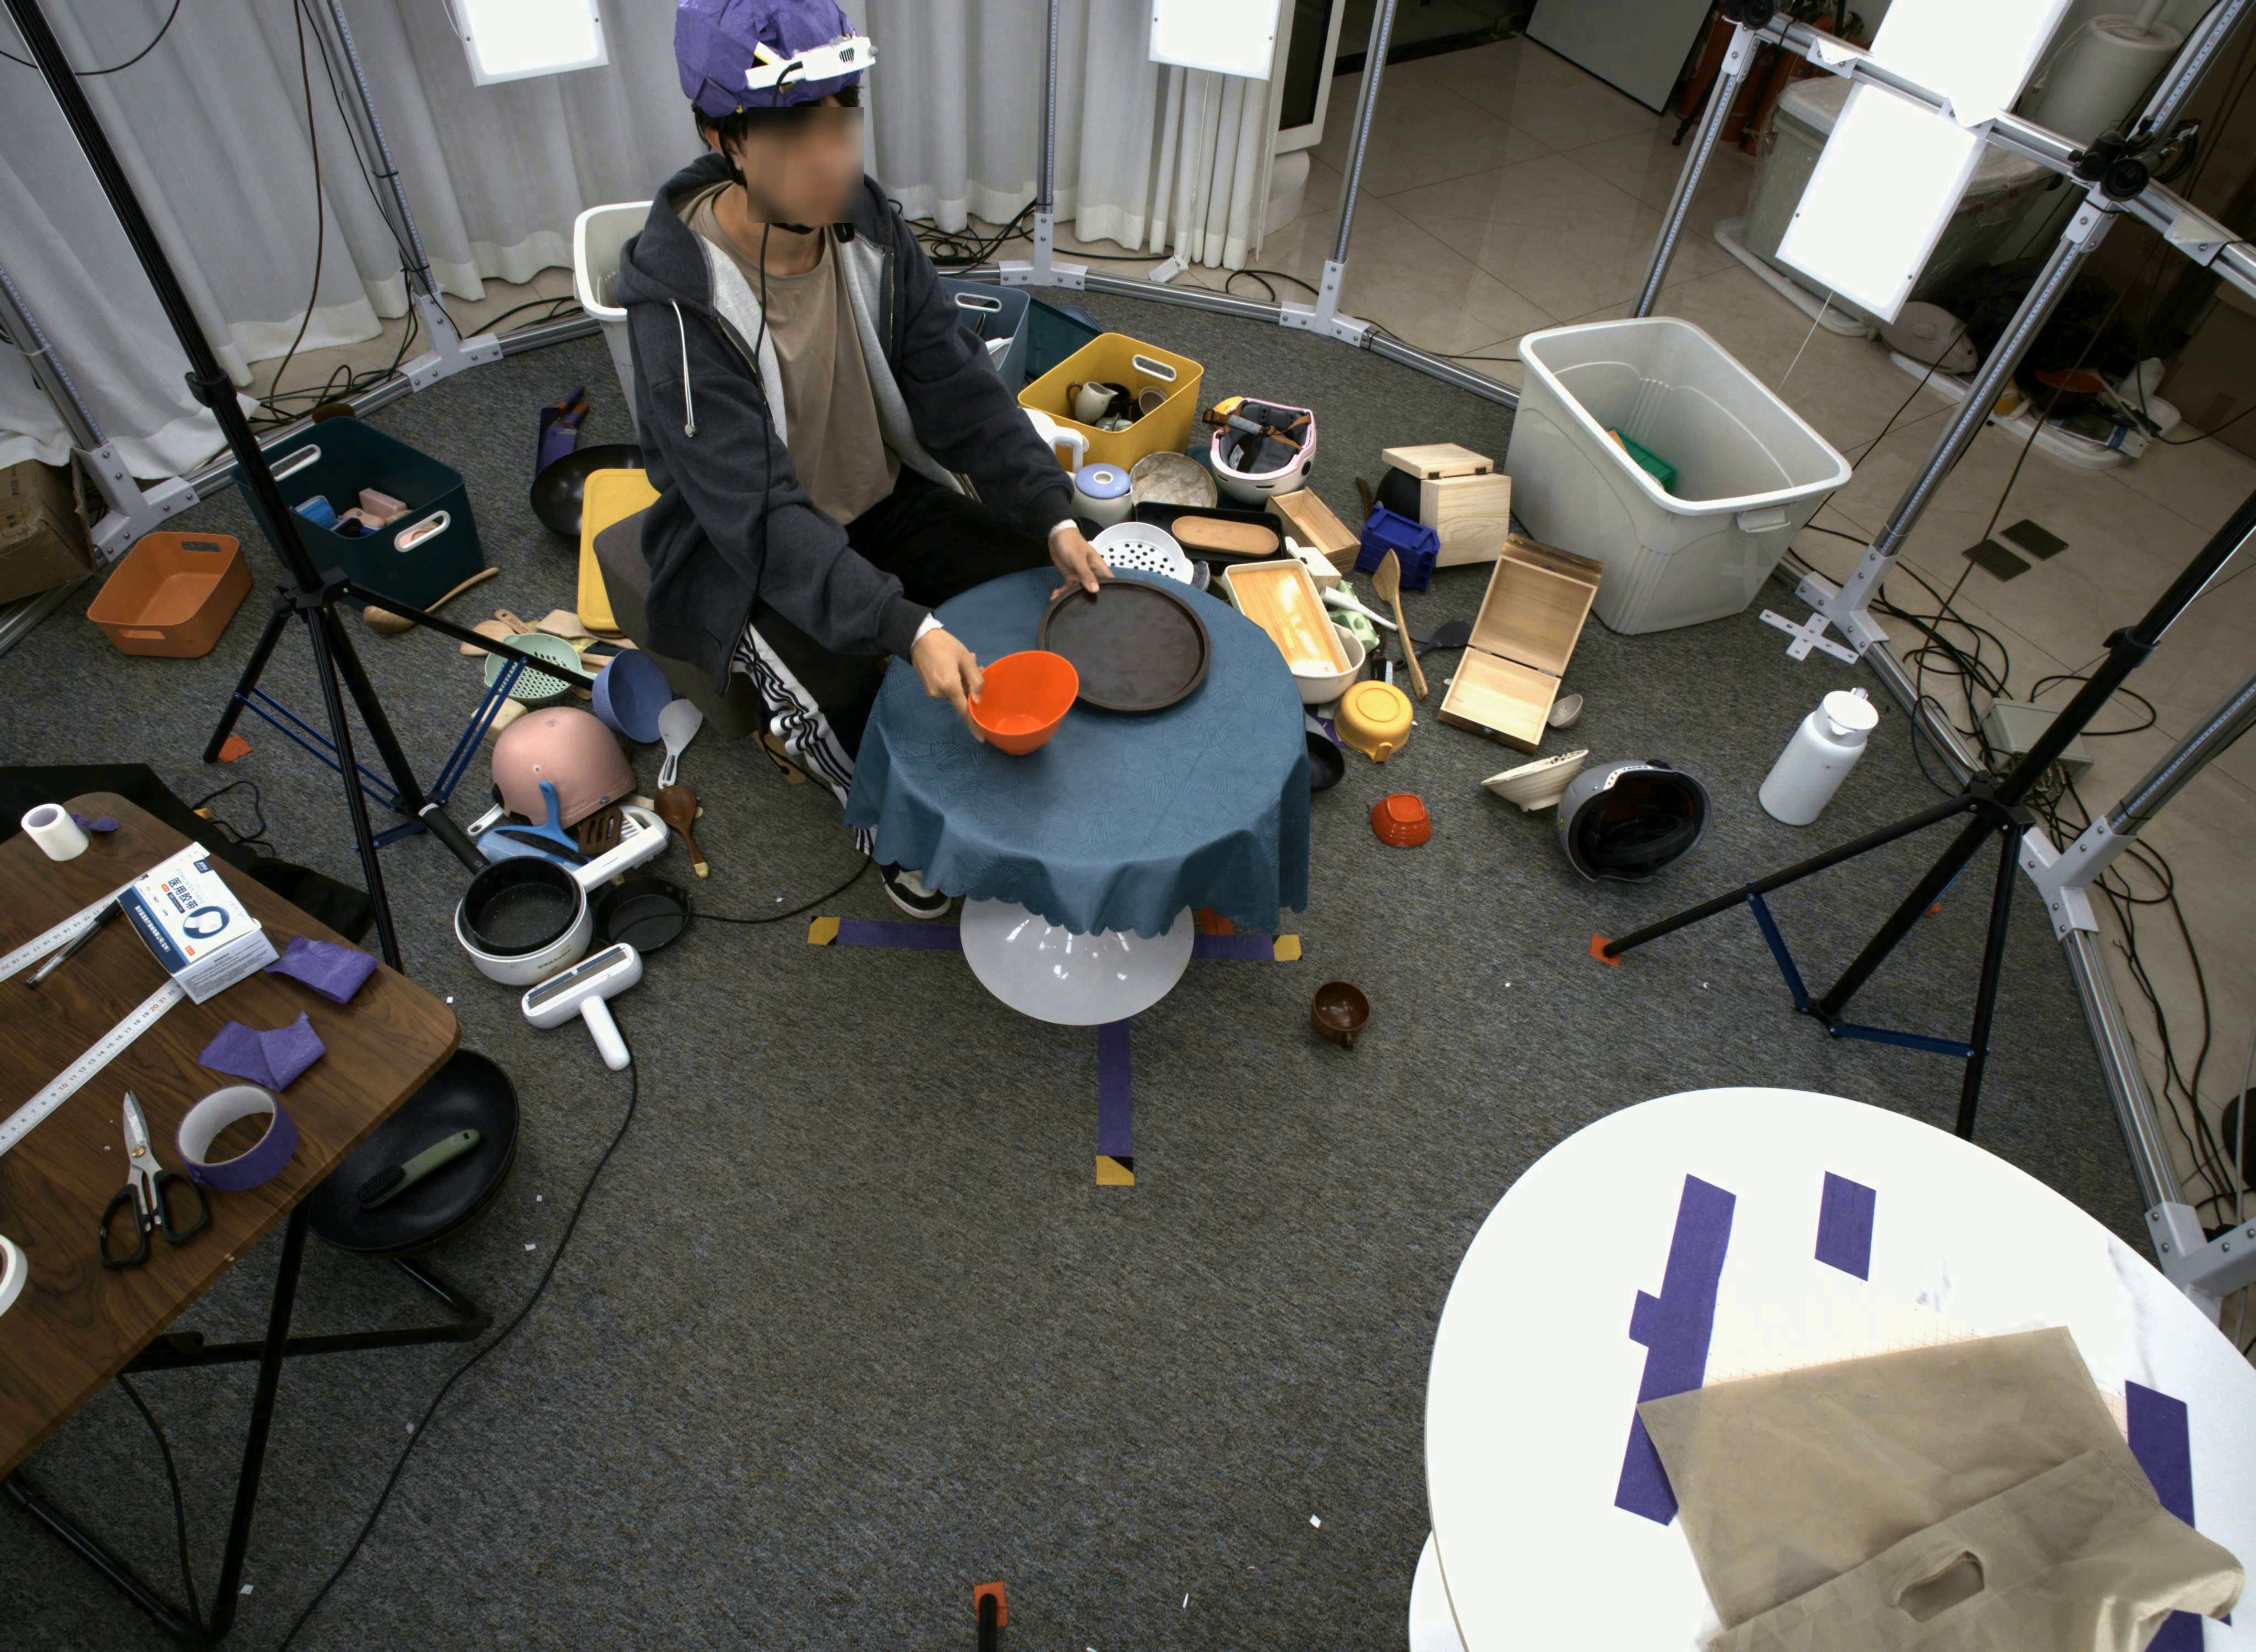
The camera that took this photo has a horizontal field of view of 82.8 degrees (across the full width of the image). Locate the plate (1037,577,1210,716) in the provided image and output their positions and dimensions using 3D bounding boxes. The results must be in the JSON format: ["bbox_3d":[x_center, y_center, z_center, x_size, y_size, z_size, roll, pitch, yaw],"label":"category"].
[{"bbox_3d":[-0.007,-0.261,1.860,0.254,0.028,0.261,3,56,-5],"label":"plate"}]

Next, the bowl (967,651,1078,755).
[{"bbox_3d":[-0.137,-0.151,1.710,0.148,0.102,0.151,-1,53,1],"label":"bowl"}]
